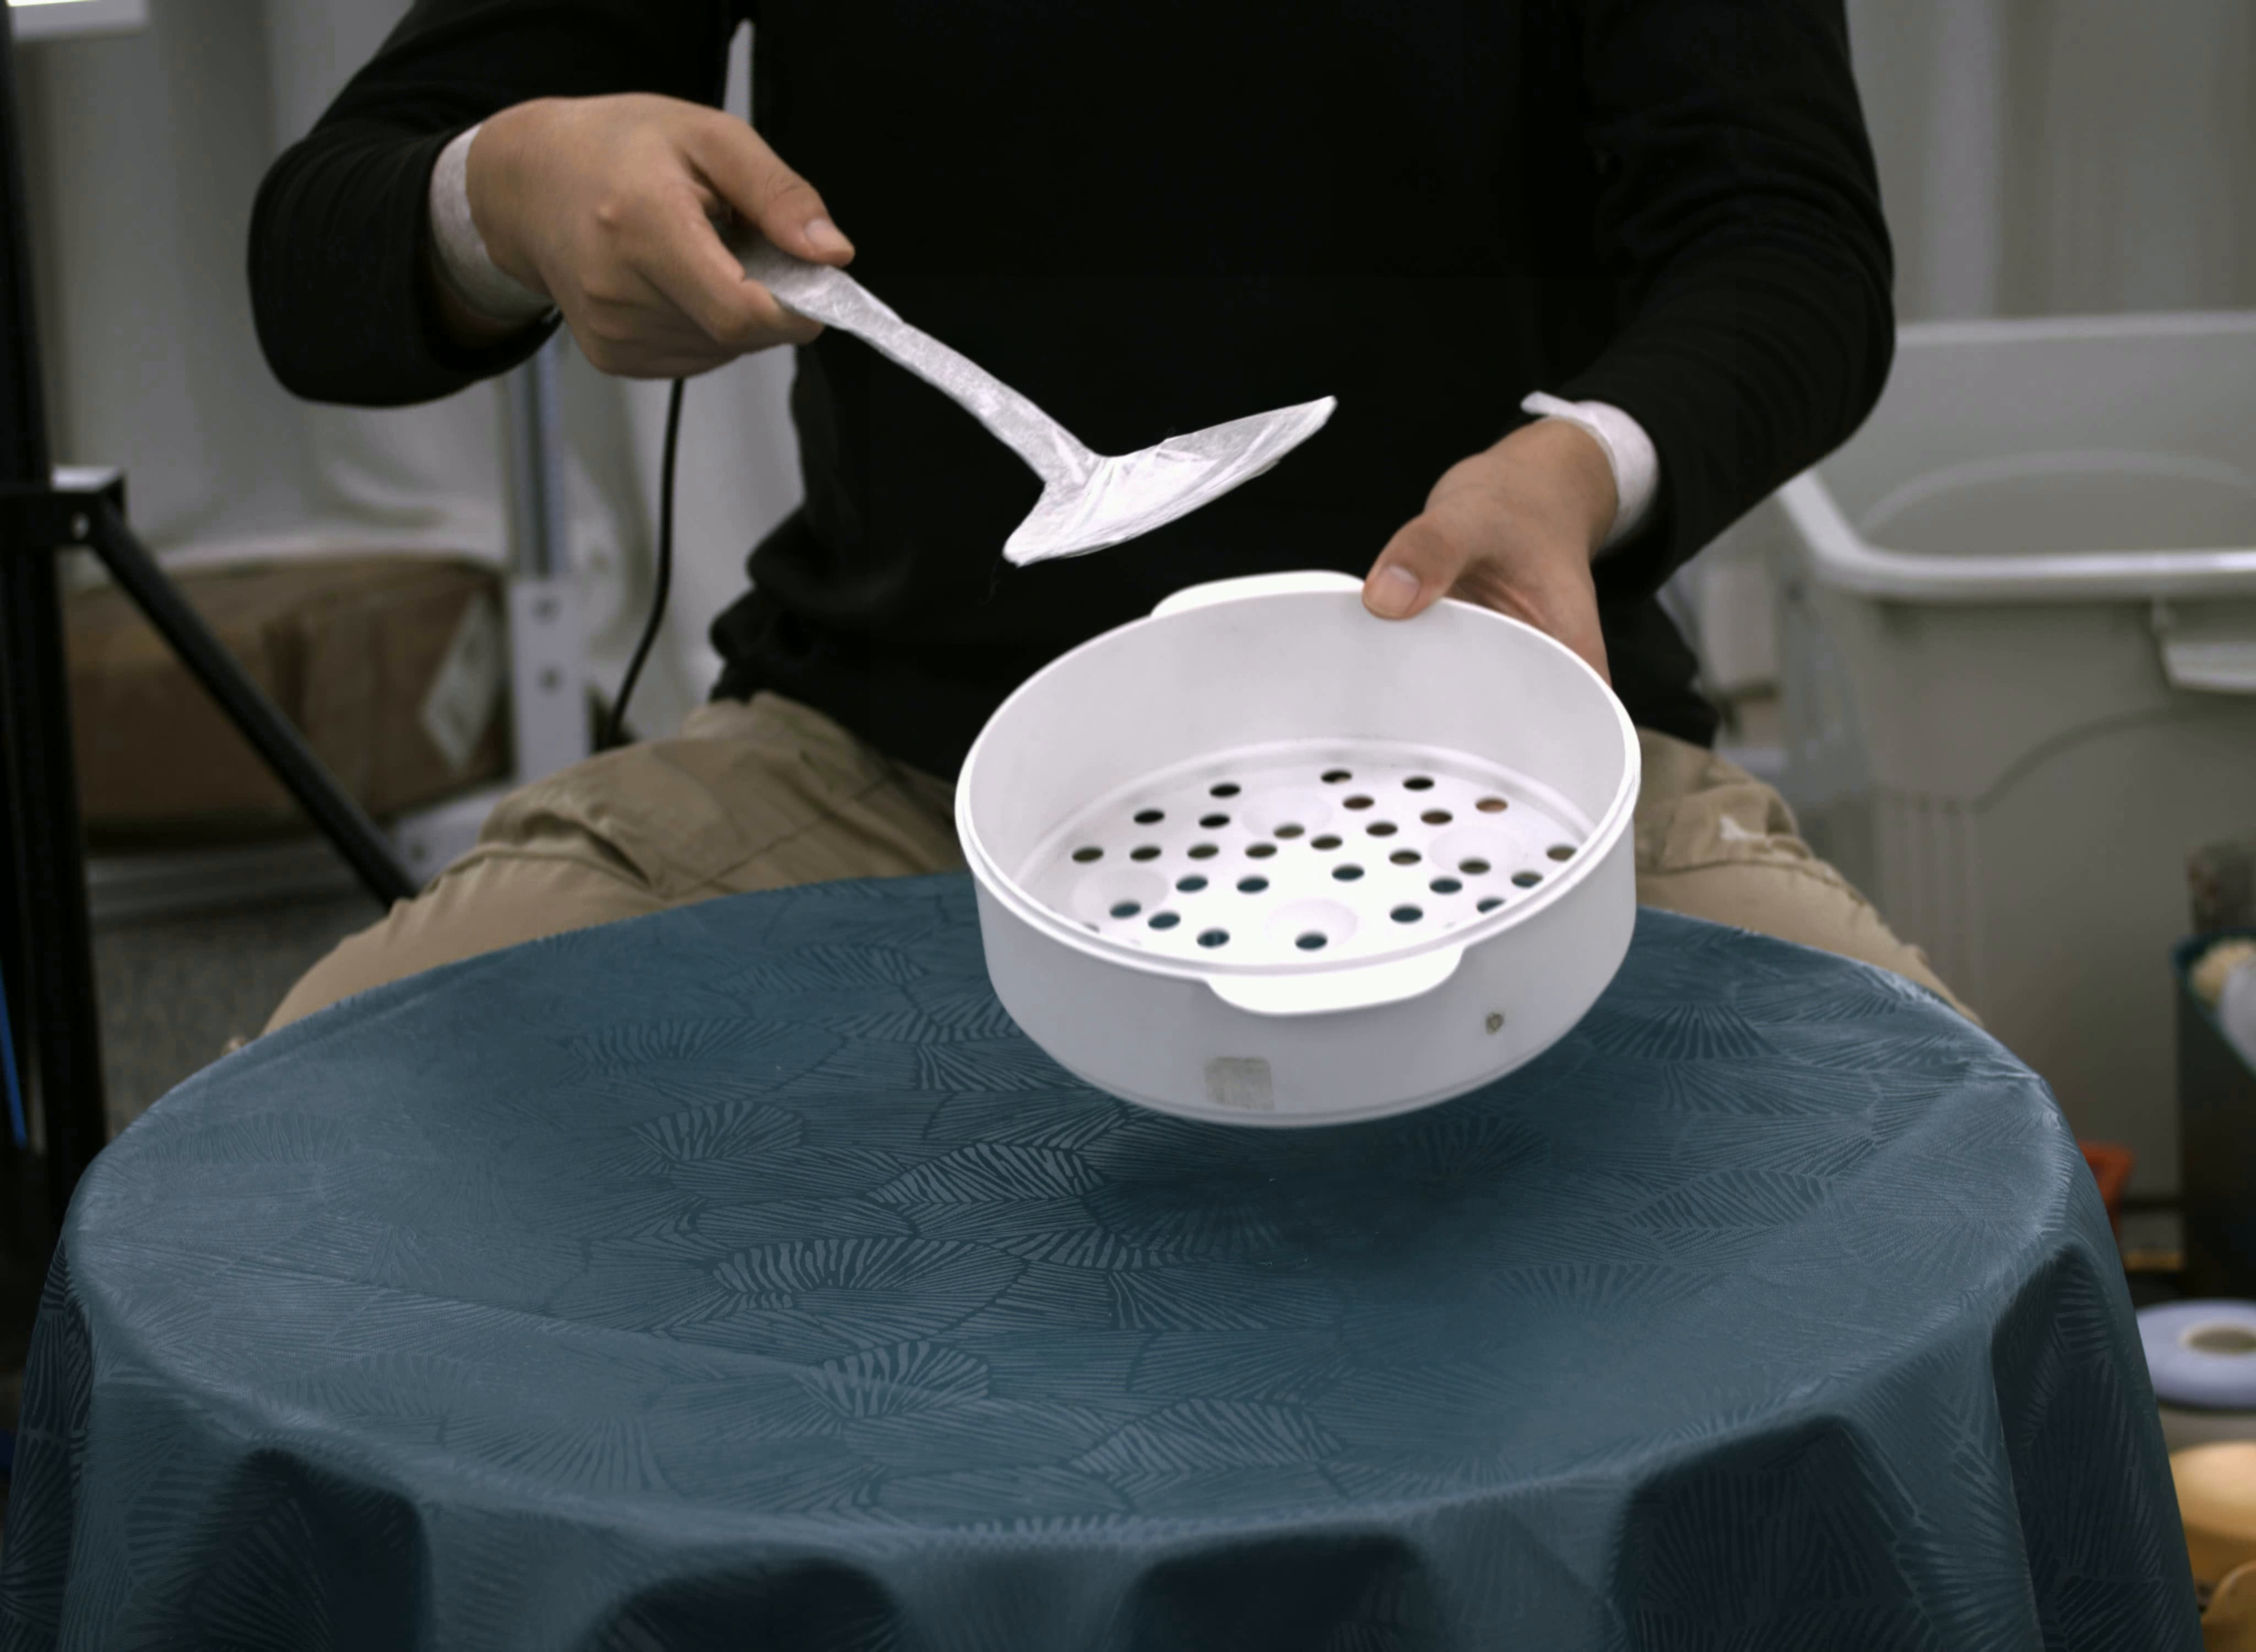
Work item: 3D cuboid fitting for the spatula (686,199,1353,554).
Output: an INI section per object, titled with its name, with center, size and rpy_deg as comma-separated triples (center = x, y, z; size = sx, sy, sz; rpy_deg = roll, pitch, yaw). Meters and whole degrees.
[spatula]
center = -0.057, -0.149, 1.624
size = 0.097, 0.044, 0.373
rpy_deg = -32, 36, -17

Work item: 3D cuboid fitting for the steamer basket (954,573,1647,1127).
[steamer basket]
center = 0.051, 0.009, 1.554
size = 0.201, 0.069, 0.233
rpy_deg = -6, 33, 0
